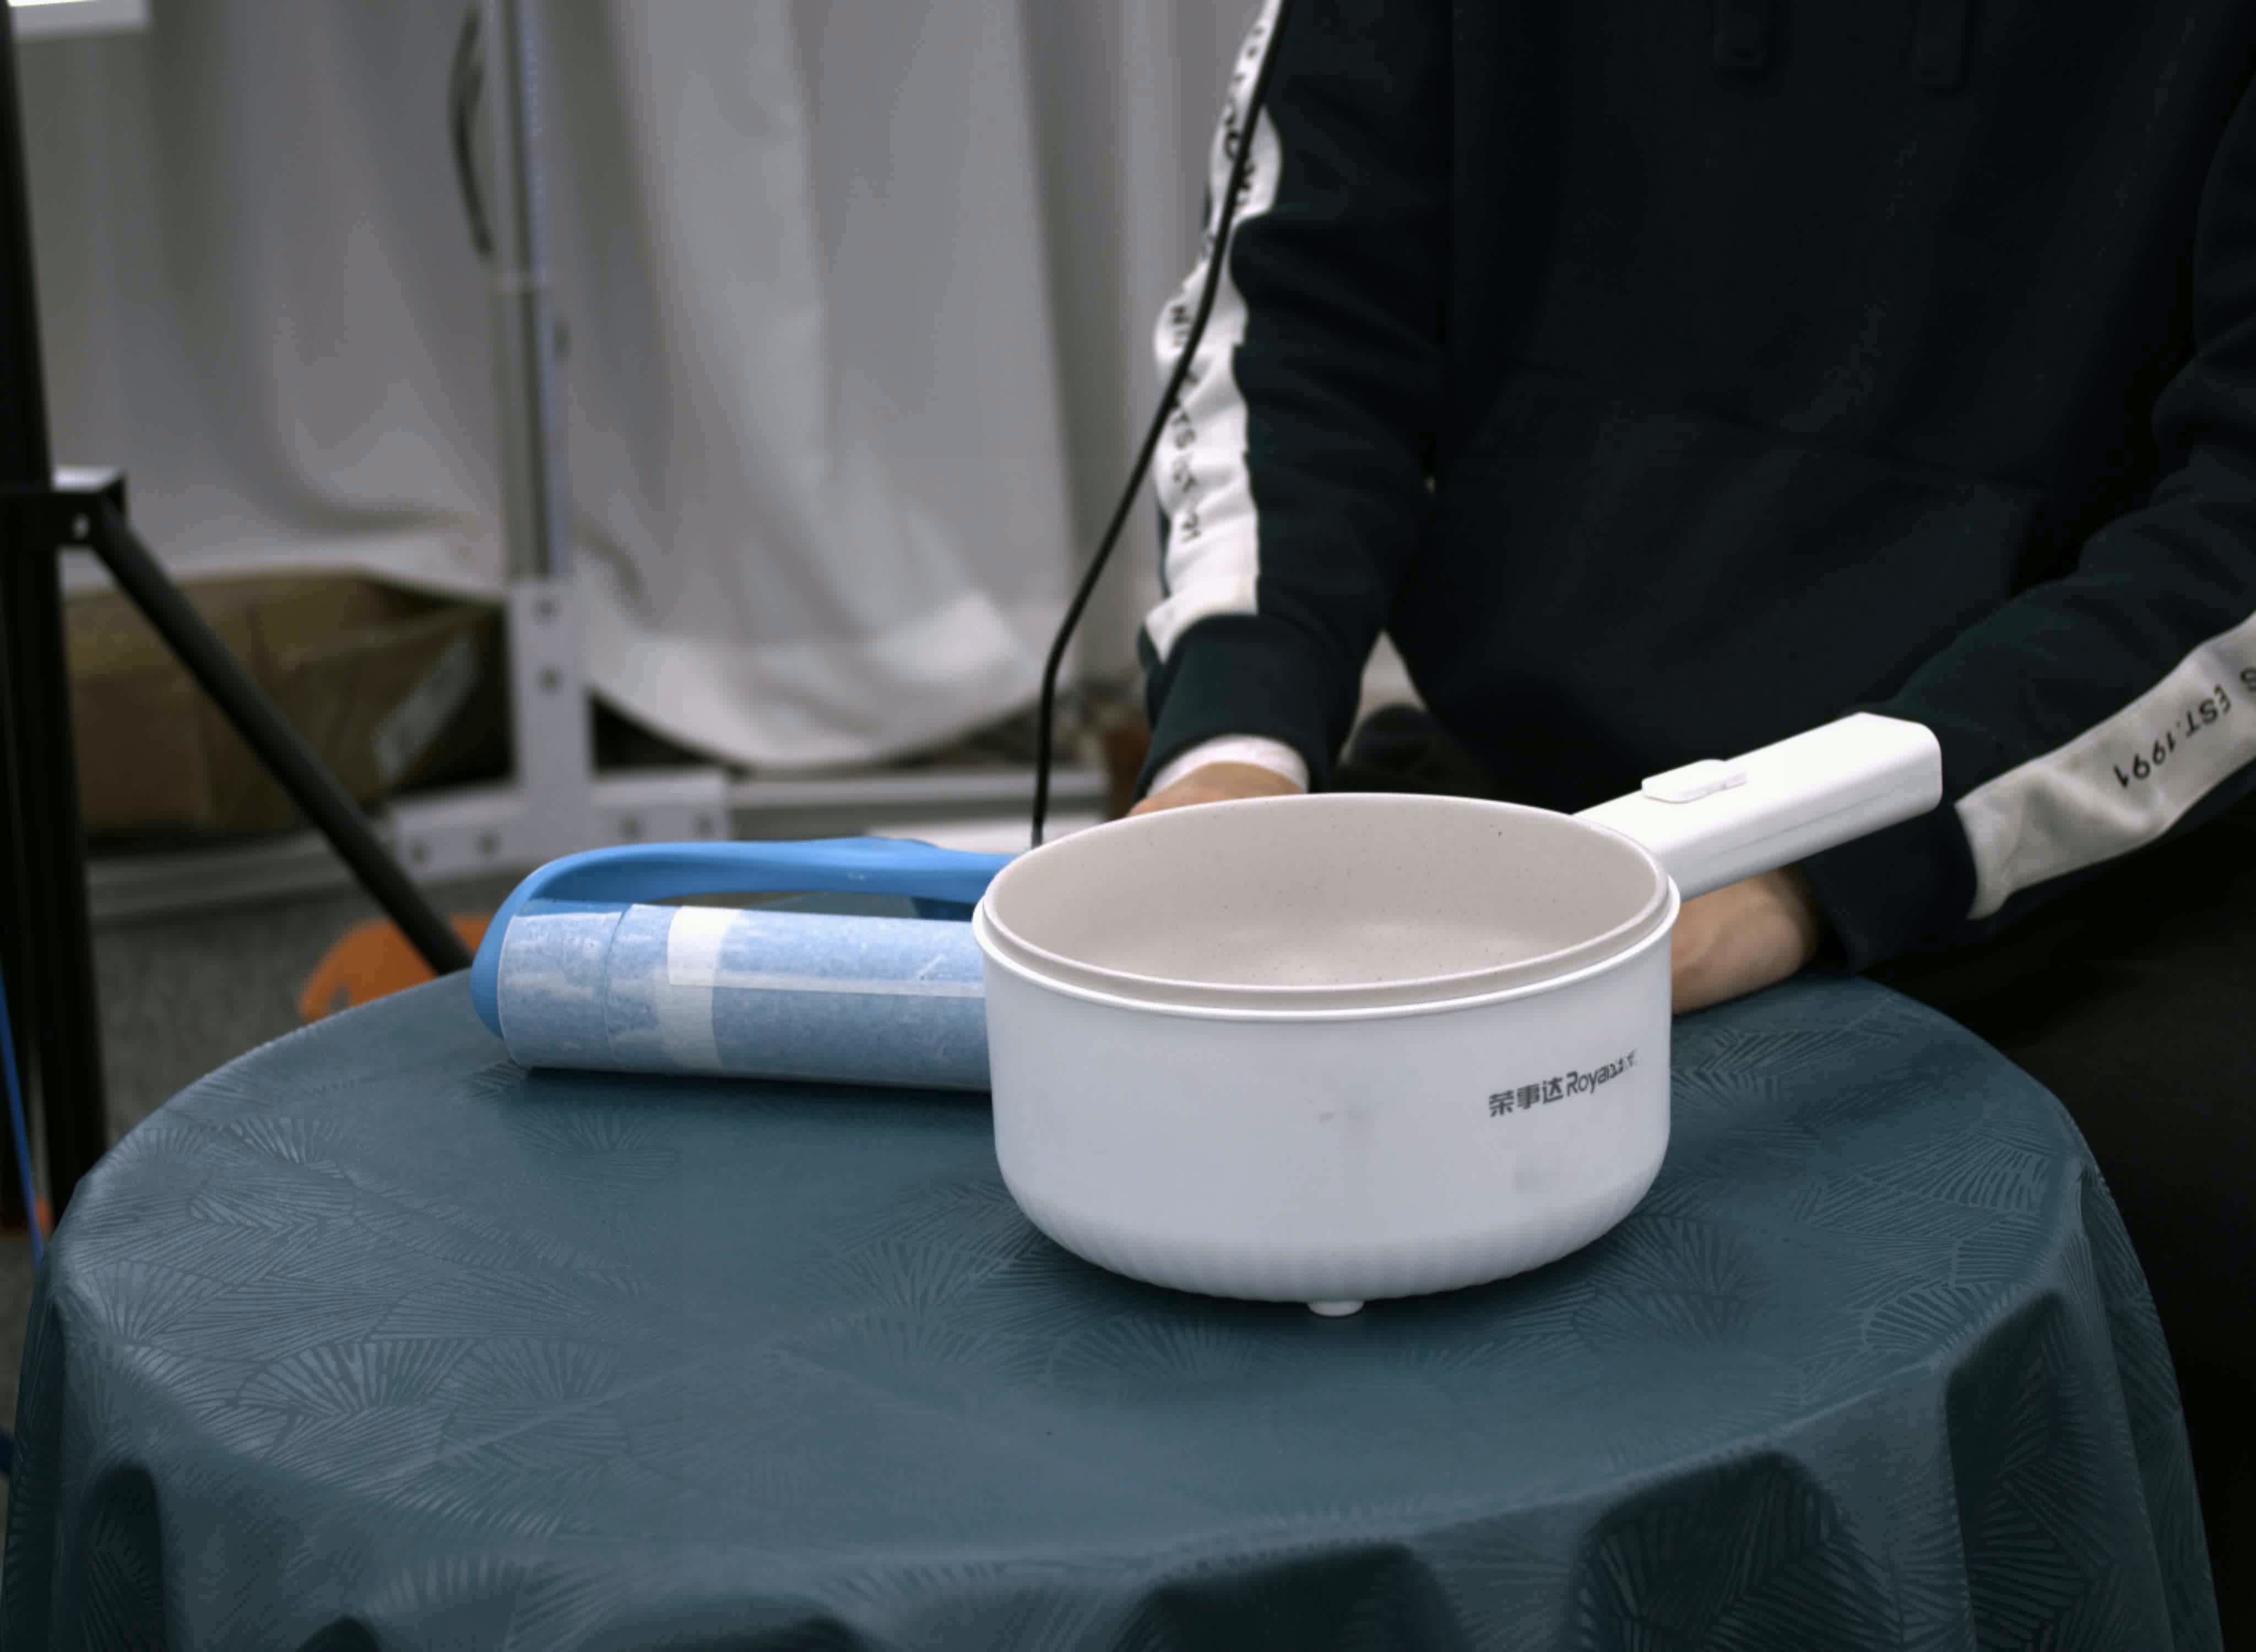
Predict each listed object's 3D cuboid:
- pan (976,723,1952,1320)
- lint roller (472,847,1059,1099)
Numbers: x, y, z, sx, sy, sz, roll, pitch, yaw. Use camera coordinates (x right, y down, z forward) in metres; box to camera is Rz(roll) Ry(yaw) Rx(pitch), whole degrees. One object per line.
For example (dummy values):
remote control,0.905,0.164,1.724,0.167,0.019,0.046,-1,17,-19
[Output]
pan,0.114,0.051,1.560,0.346,0.102,0.206,-15,19,-39
lint roller,-0.084,0.037,1.720,0.231,0.068,0.179,0,17,16
